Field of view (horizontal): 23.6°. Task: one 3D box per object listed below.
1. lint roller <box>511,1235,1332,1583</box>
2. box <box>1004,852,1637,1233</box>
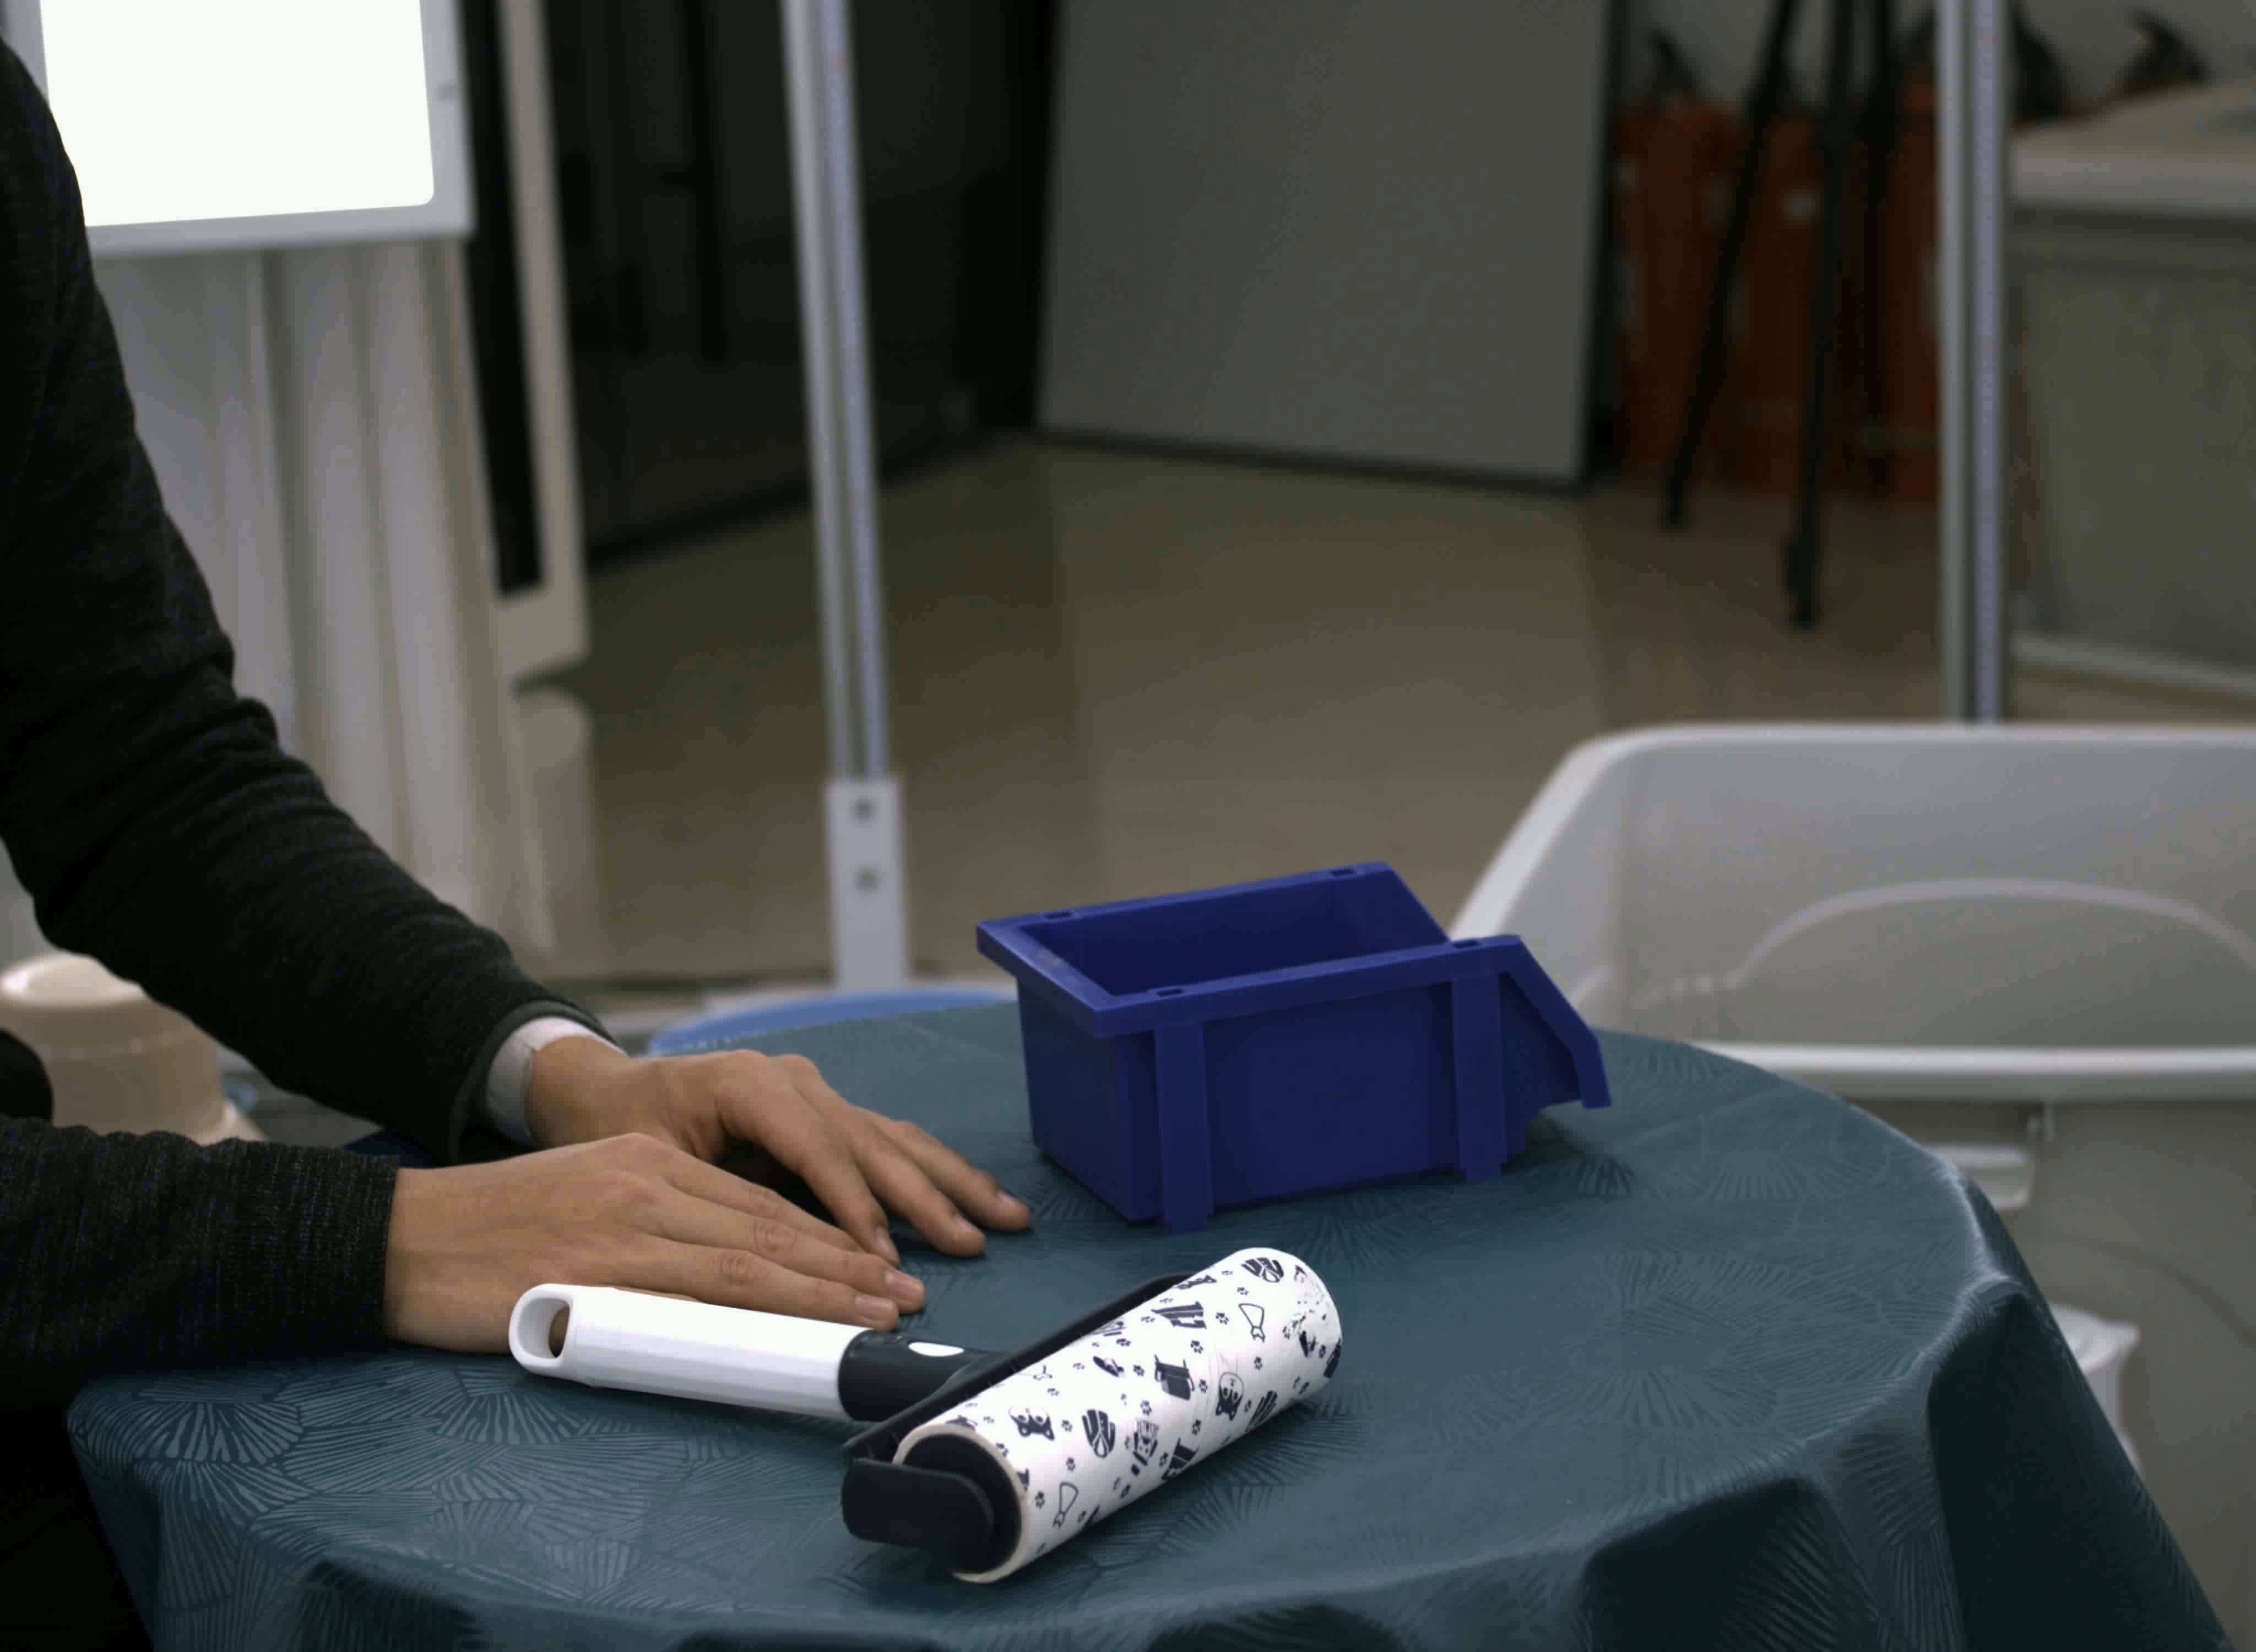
[{"bbox_3d":[-0.084,0.157,1.562,0.248,0.051,0.173,4,17,35],"label":"lint roller"},{"bbox_3d":[0.063,0.068,1.793,0.176,0.083,0.125,-11,14,-16],"label":"box"}]
